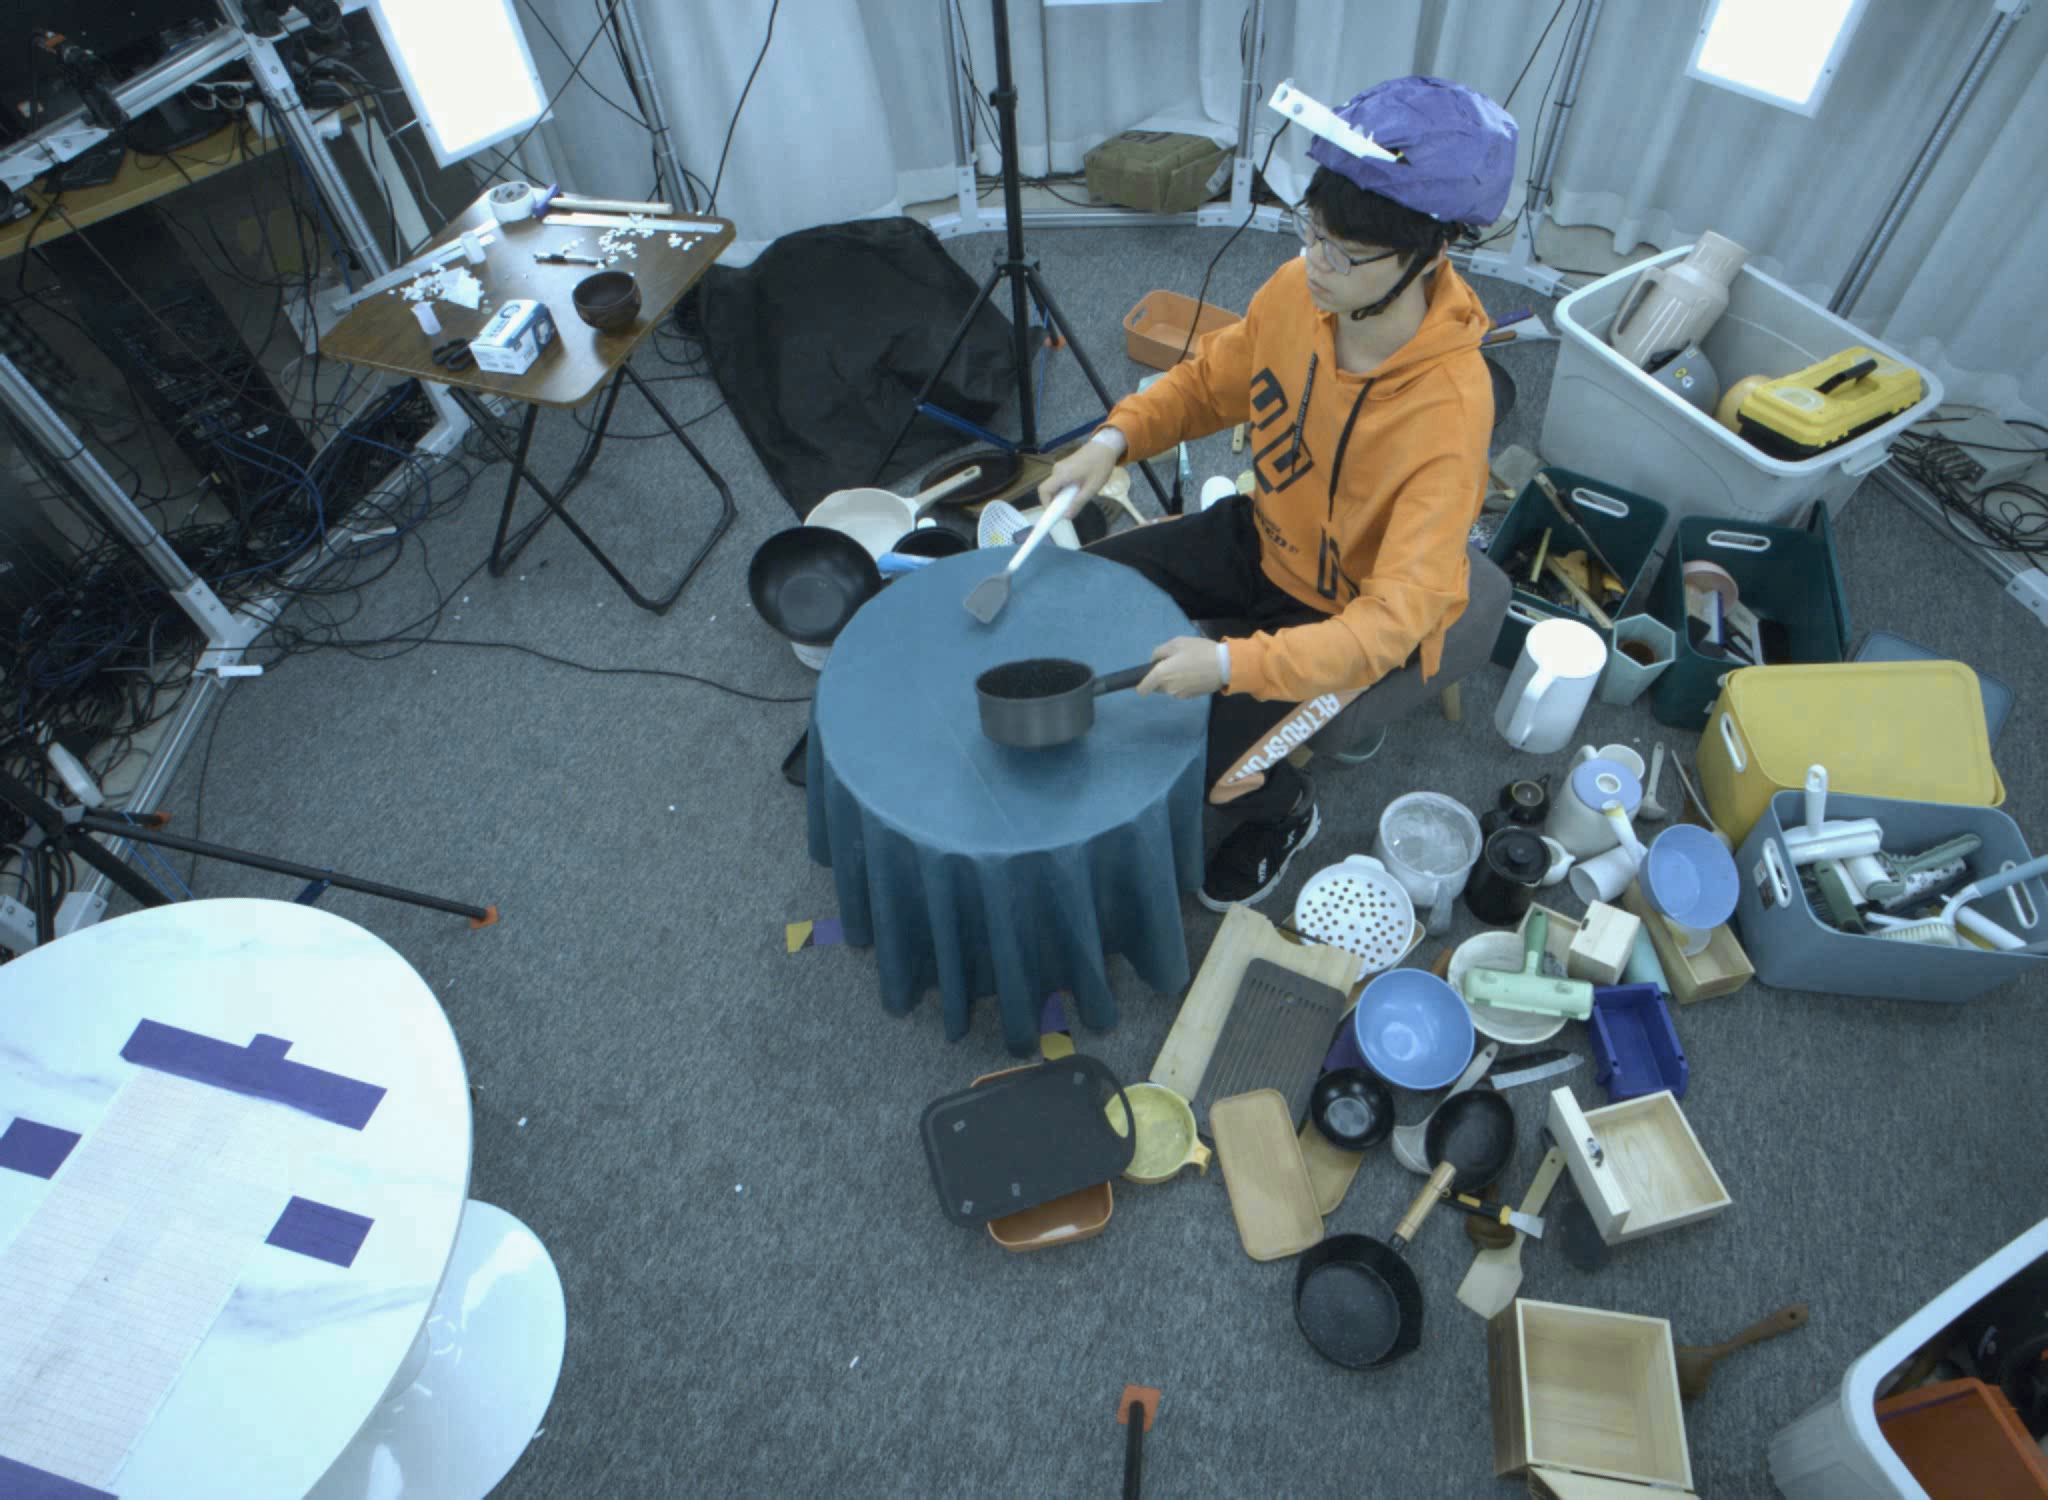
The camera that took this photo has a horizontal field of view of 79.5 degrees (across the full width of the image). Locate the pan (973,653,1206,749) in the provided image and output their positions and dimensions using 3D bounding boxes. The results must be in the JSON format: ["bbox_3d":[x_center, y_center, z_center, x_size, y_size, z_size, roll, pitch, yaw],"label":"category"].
[{"bbox_3d":[0.095,-0.077,1.738,0.329,0.087,0.170,-7,25,0],"label":"pan"}]

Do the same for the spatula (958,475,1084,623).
[{"bbox_3d":[-0.001,-0.320,1.935,0.059,0.032,0.288,40,78,-13],"label":"spatula"}]
